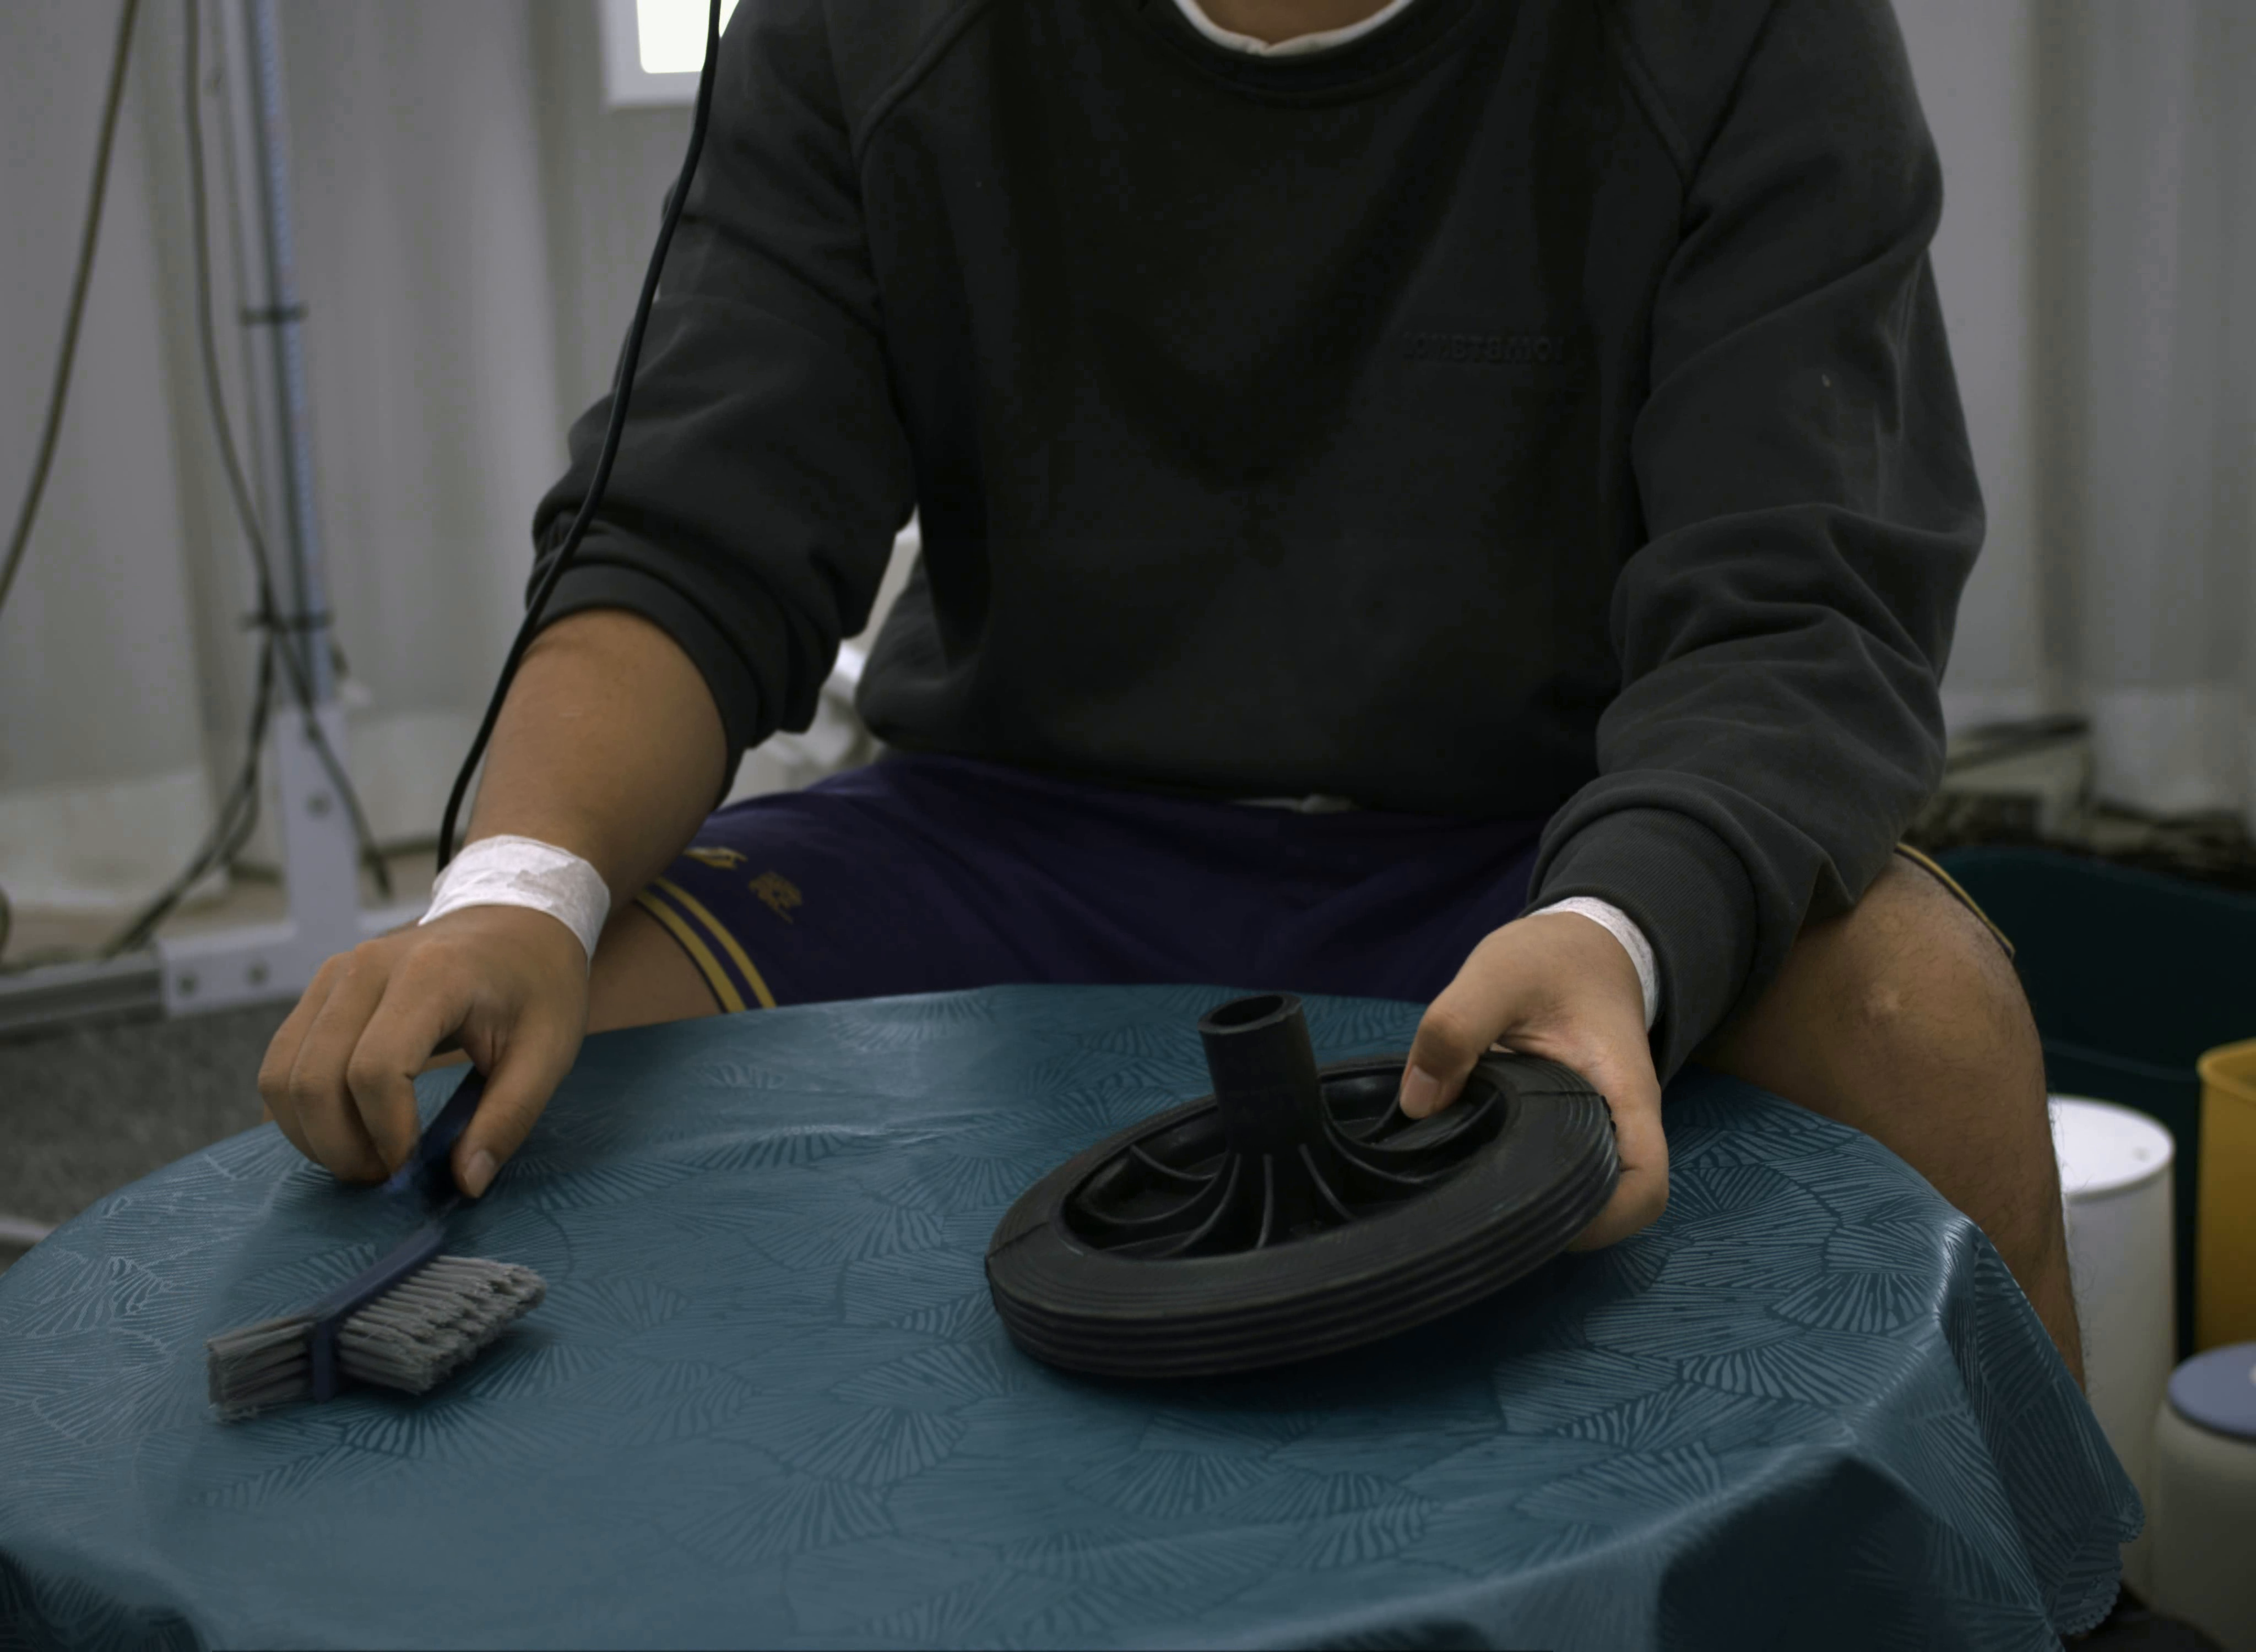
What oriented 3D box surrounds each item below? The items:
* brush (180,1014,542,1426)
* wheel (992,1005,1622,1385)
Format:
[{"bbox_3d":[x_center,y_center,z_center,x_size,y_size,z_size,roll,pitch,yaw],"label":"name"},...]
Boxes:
[{"bbox_3d":[-0.227,0.118,1.686,0.095,0.033,0.275,-4,16,-1],"label":"brush"},{"bbox_3d":[0.047,0.094,1.595,0.187,0.079,0.190,-5,18,35],"label":"wheel"}]
